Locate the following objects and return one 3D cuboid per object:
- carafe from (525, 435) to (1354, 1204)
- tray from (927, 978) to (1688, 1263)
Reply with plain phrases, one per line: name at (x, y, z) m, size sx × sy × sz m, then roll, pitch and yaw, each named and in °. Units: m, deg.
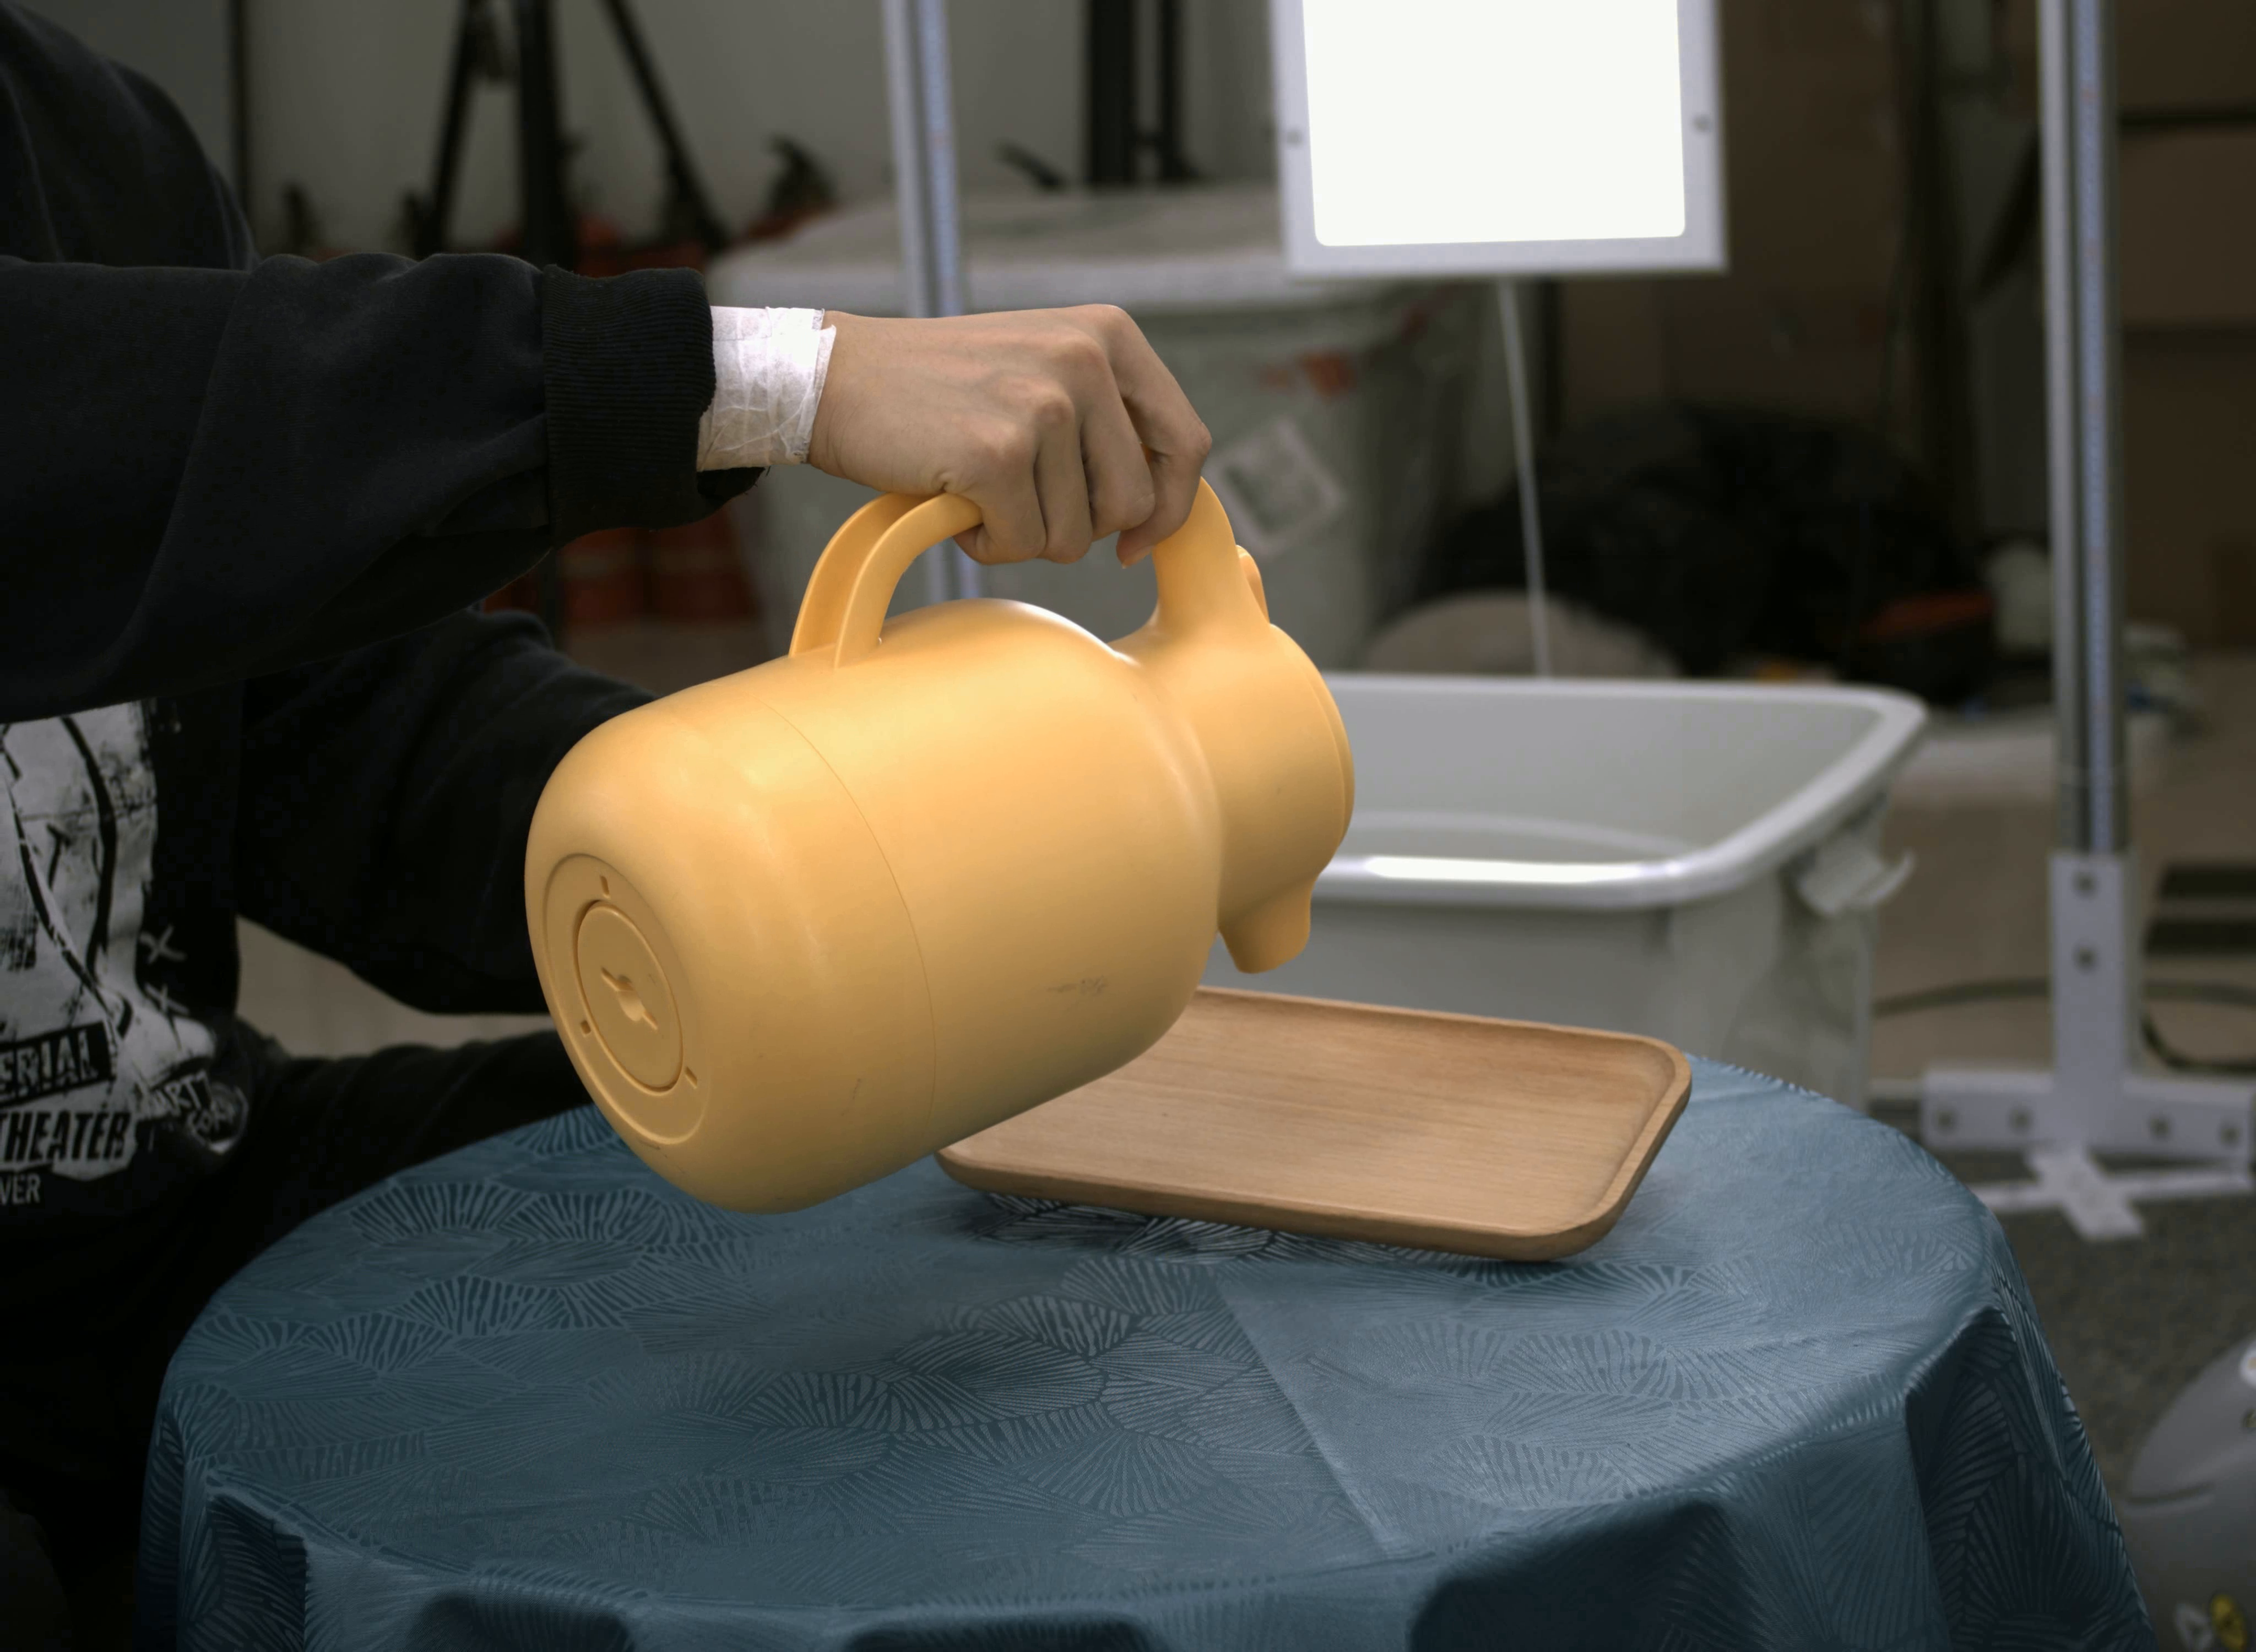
carafe at (-0.055, -0.009, 1.733) m, size 0.254 × 0.203 × 0.167 m, roll -20°, pitch 17°, yaw -31°
tray at (0.061, 0.098, 1.873) m, size 0.255 × 0.023 × 0.128 m, roll 5°, pitch 30°, yaw 27°
